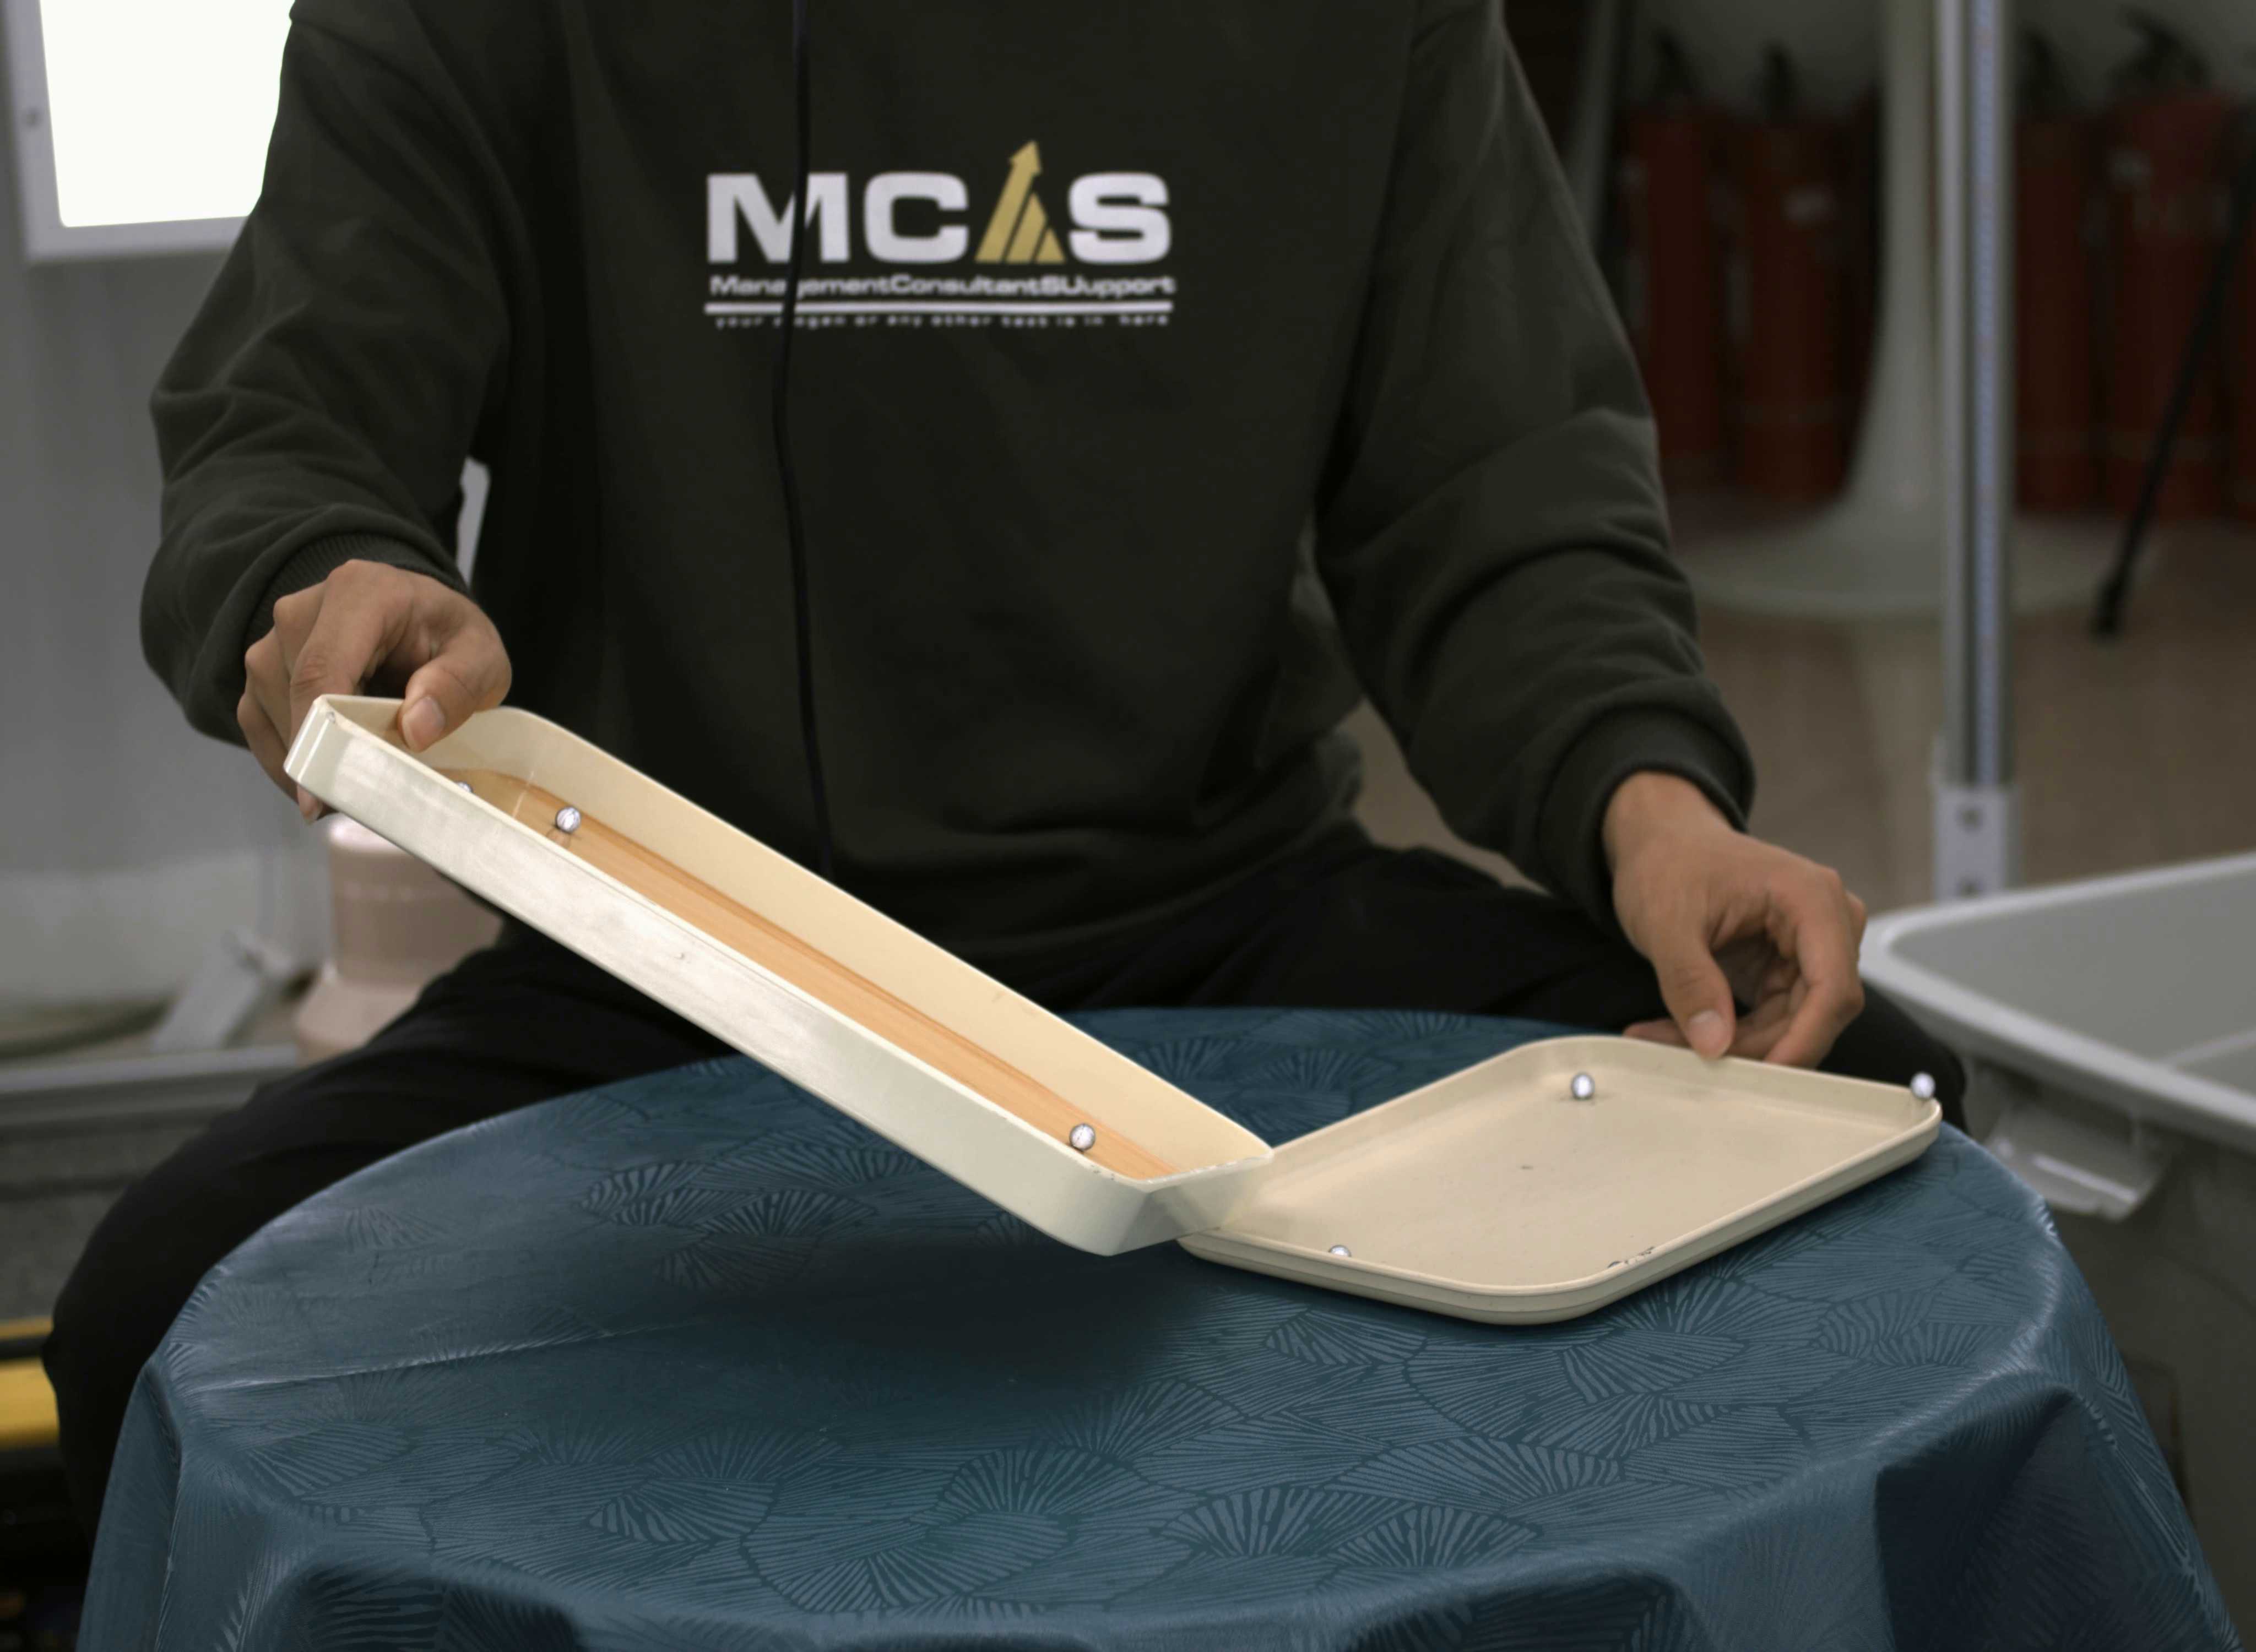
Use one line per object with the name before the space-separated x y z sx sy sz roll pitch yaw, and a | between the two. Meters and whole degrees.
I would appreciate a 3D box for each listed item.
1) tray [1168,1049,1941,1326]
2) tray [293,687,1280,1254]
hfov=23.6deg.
tray | 0.139 0.115 1.730 0.173 0.017 0.235 7 17 42
tray | -0.102 0.044 1.668 0.300 0.027 0.190 30 6 15
